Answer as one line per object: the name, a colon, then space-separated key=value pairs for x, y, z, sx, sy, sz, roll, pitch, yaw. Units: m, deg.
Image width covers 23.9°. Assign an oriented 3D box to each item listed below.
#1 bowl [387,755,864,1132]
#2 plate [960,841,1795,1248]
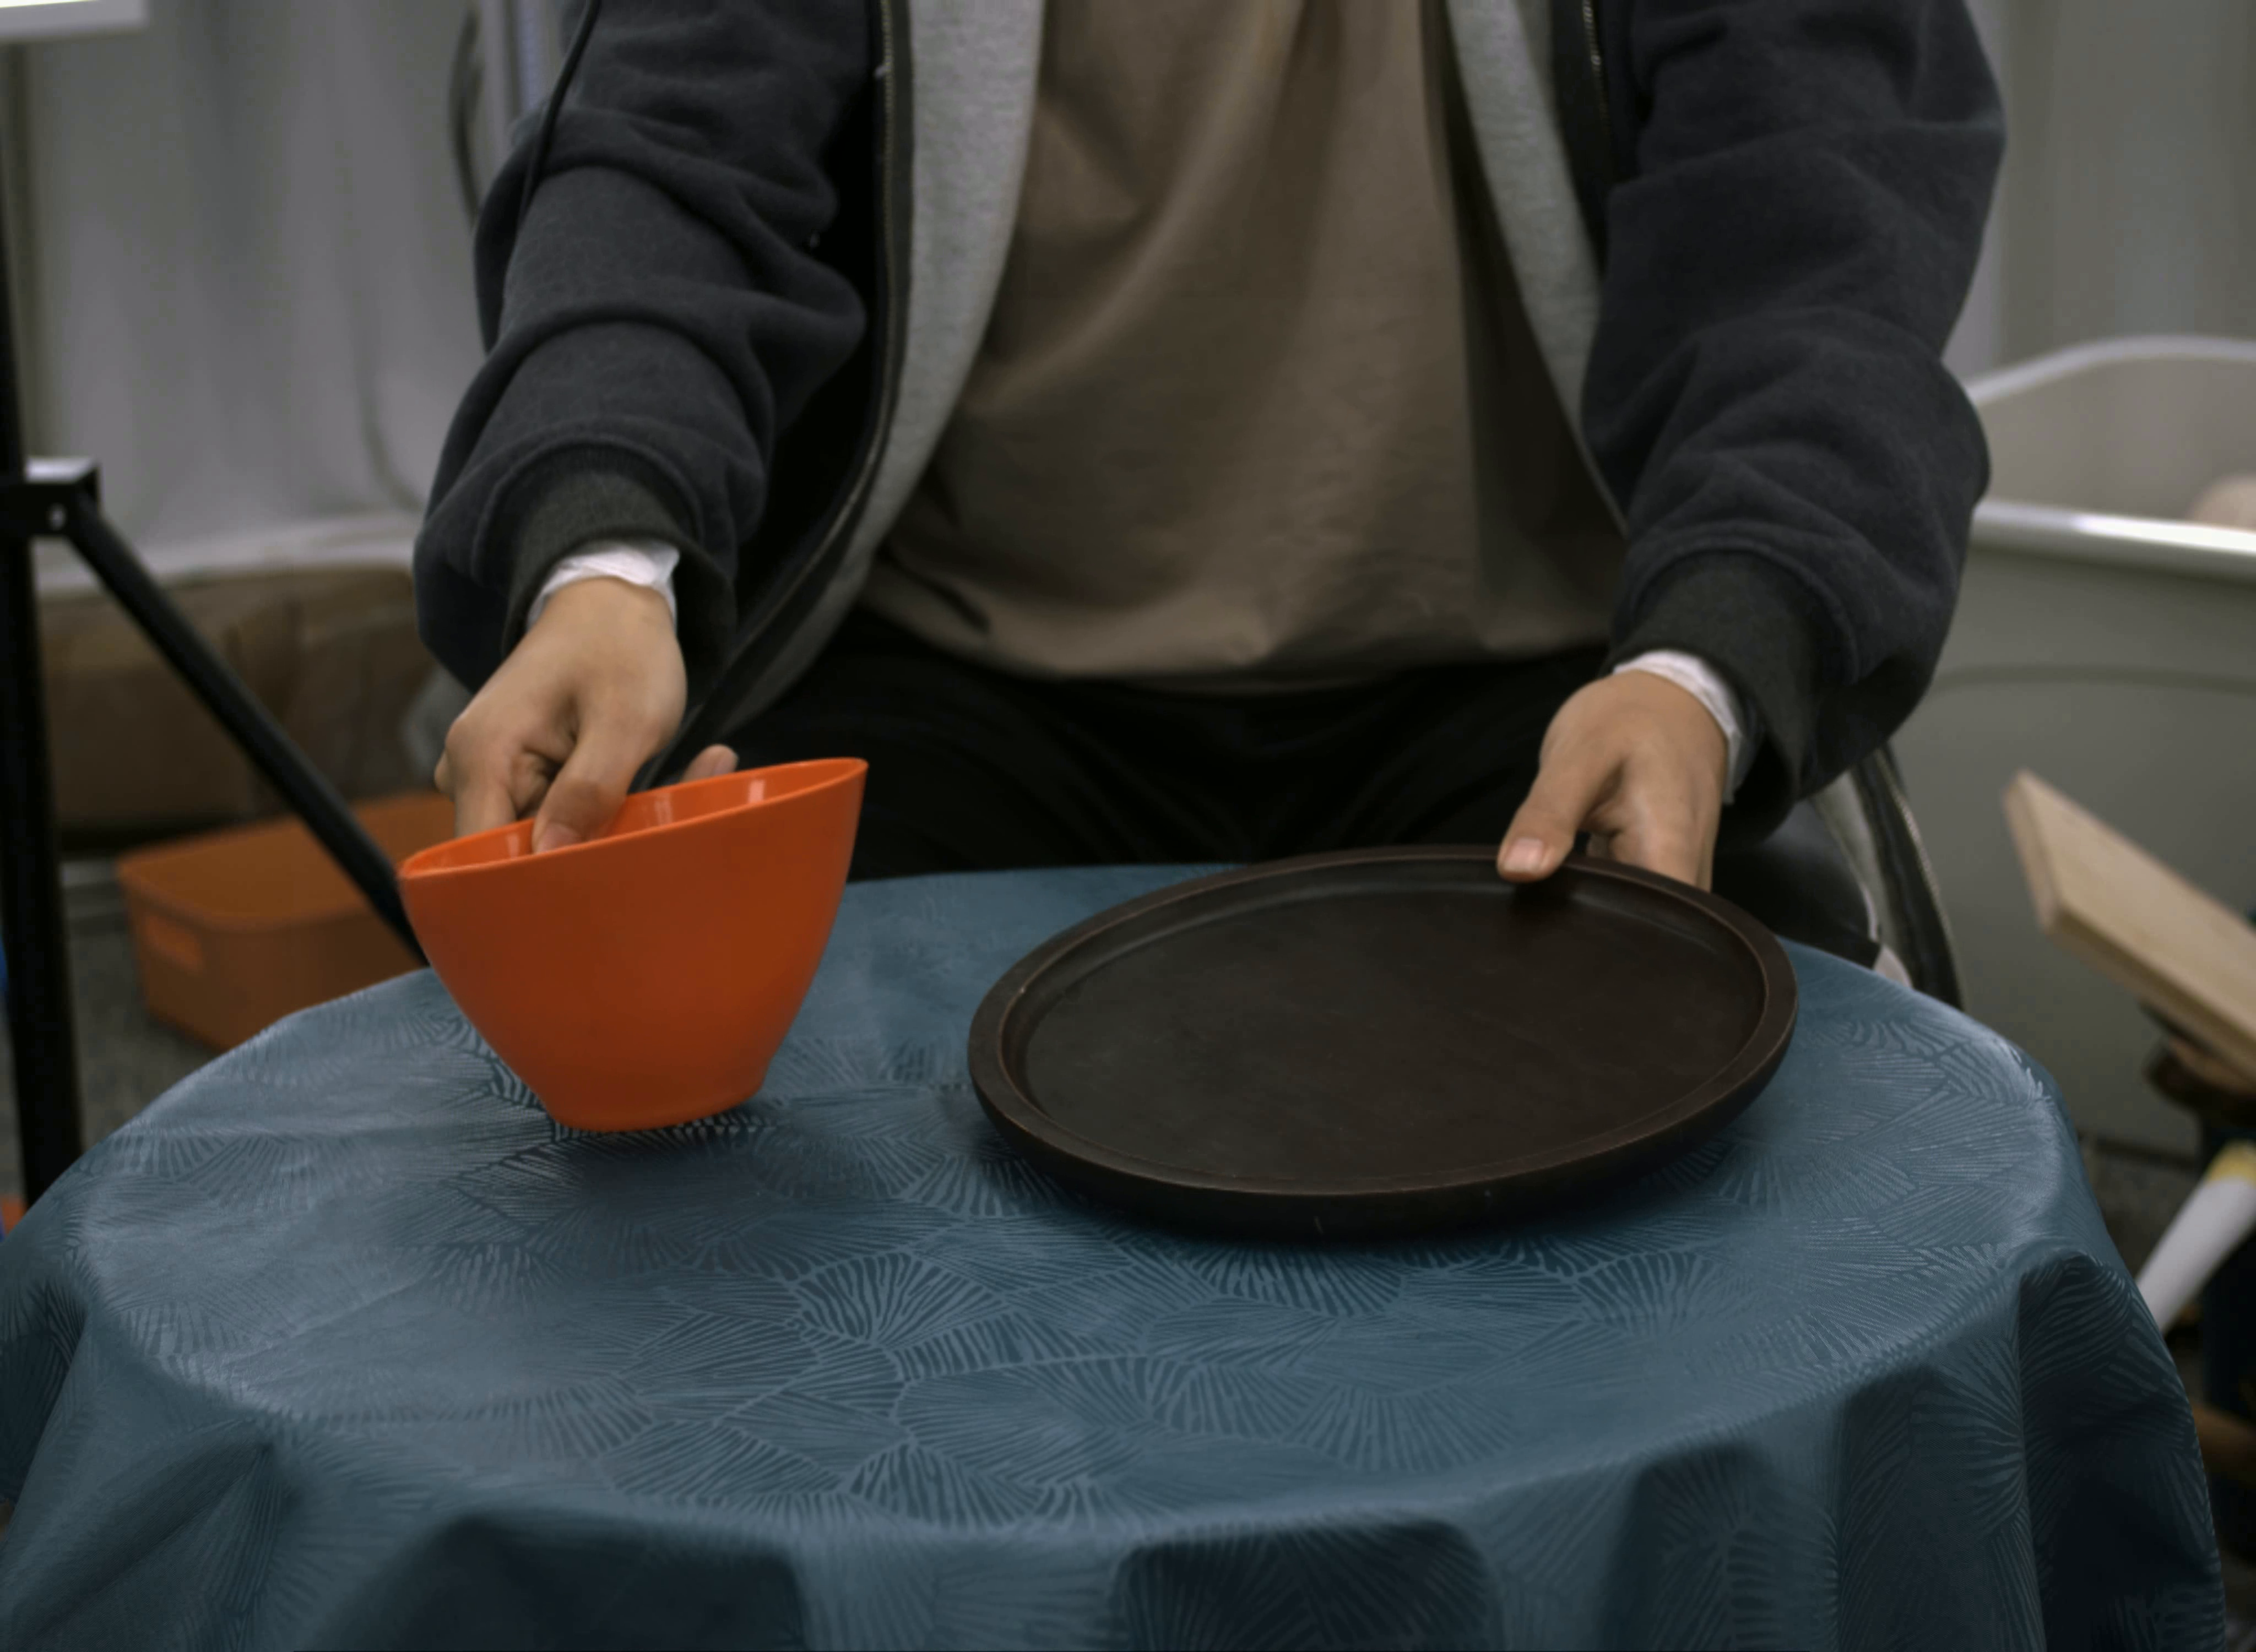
bowl: x=-0.146 y=0.036 z=1.618 sx=0.147 sy=0.104 sz=0.149 roll=-8 pitch=14 yaw=1
plate: x=0.076 y=0.064 z=1.610 sx=0.254 sy=0.029 sz=0.256 roll=-7 pitch=22 yaw=2
